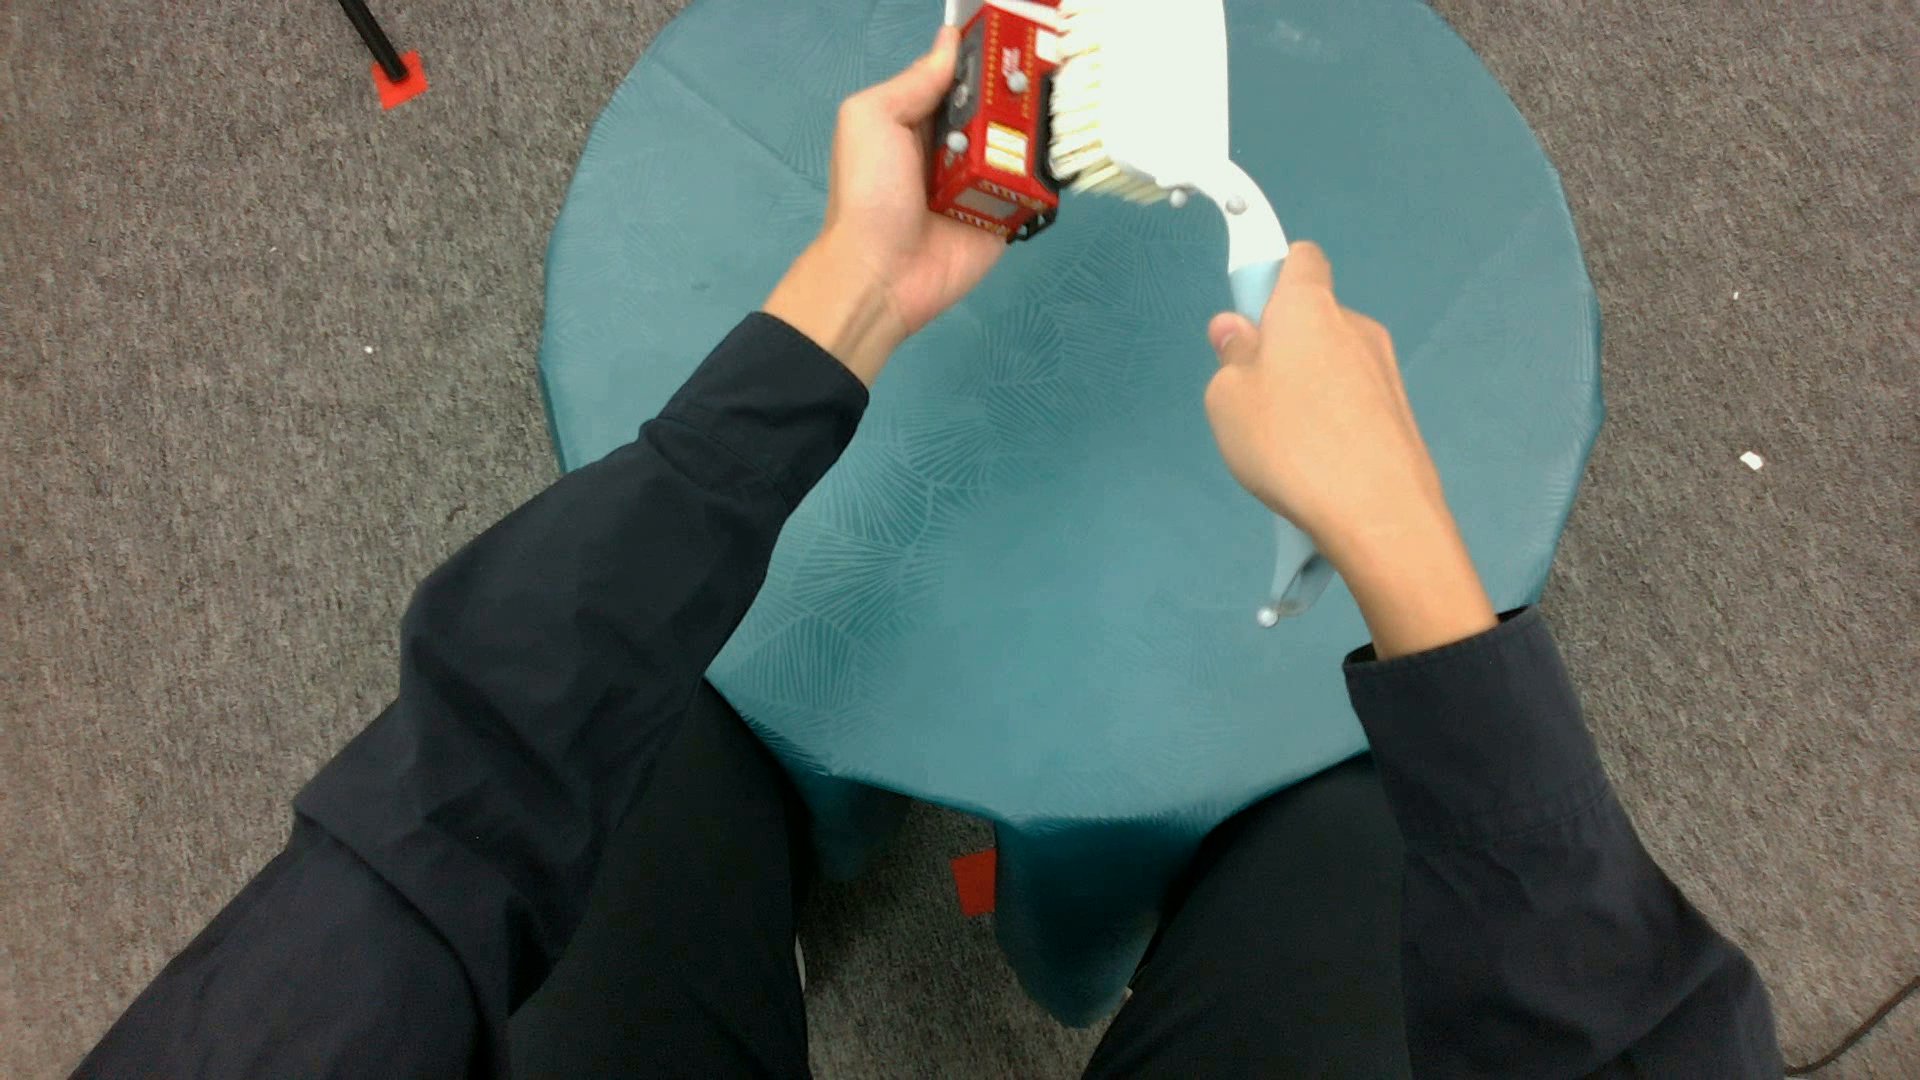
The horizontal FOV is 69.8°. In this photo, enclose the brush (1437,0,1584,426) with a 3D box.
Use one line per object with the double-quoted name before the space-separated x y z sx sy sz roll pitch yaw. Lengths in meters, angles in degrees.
"brush" 0.184 -0.204 0.519 0.083 0.084 0.325 10 89 -1
